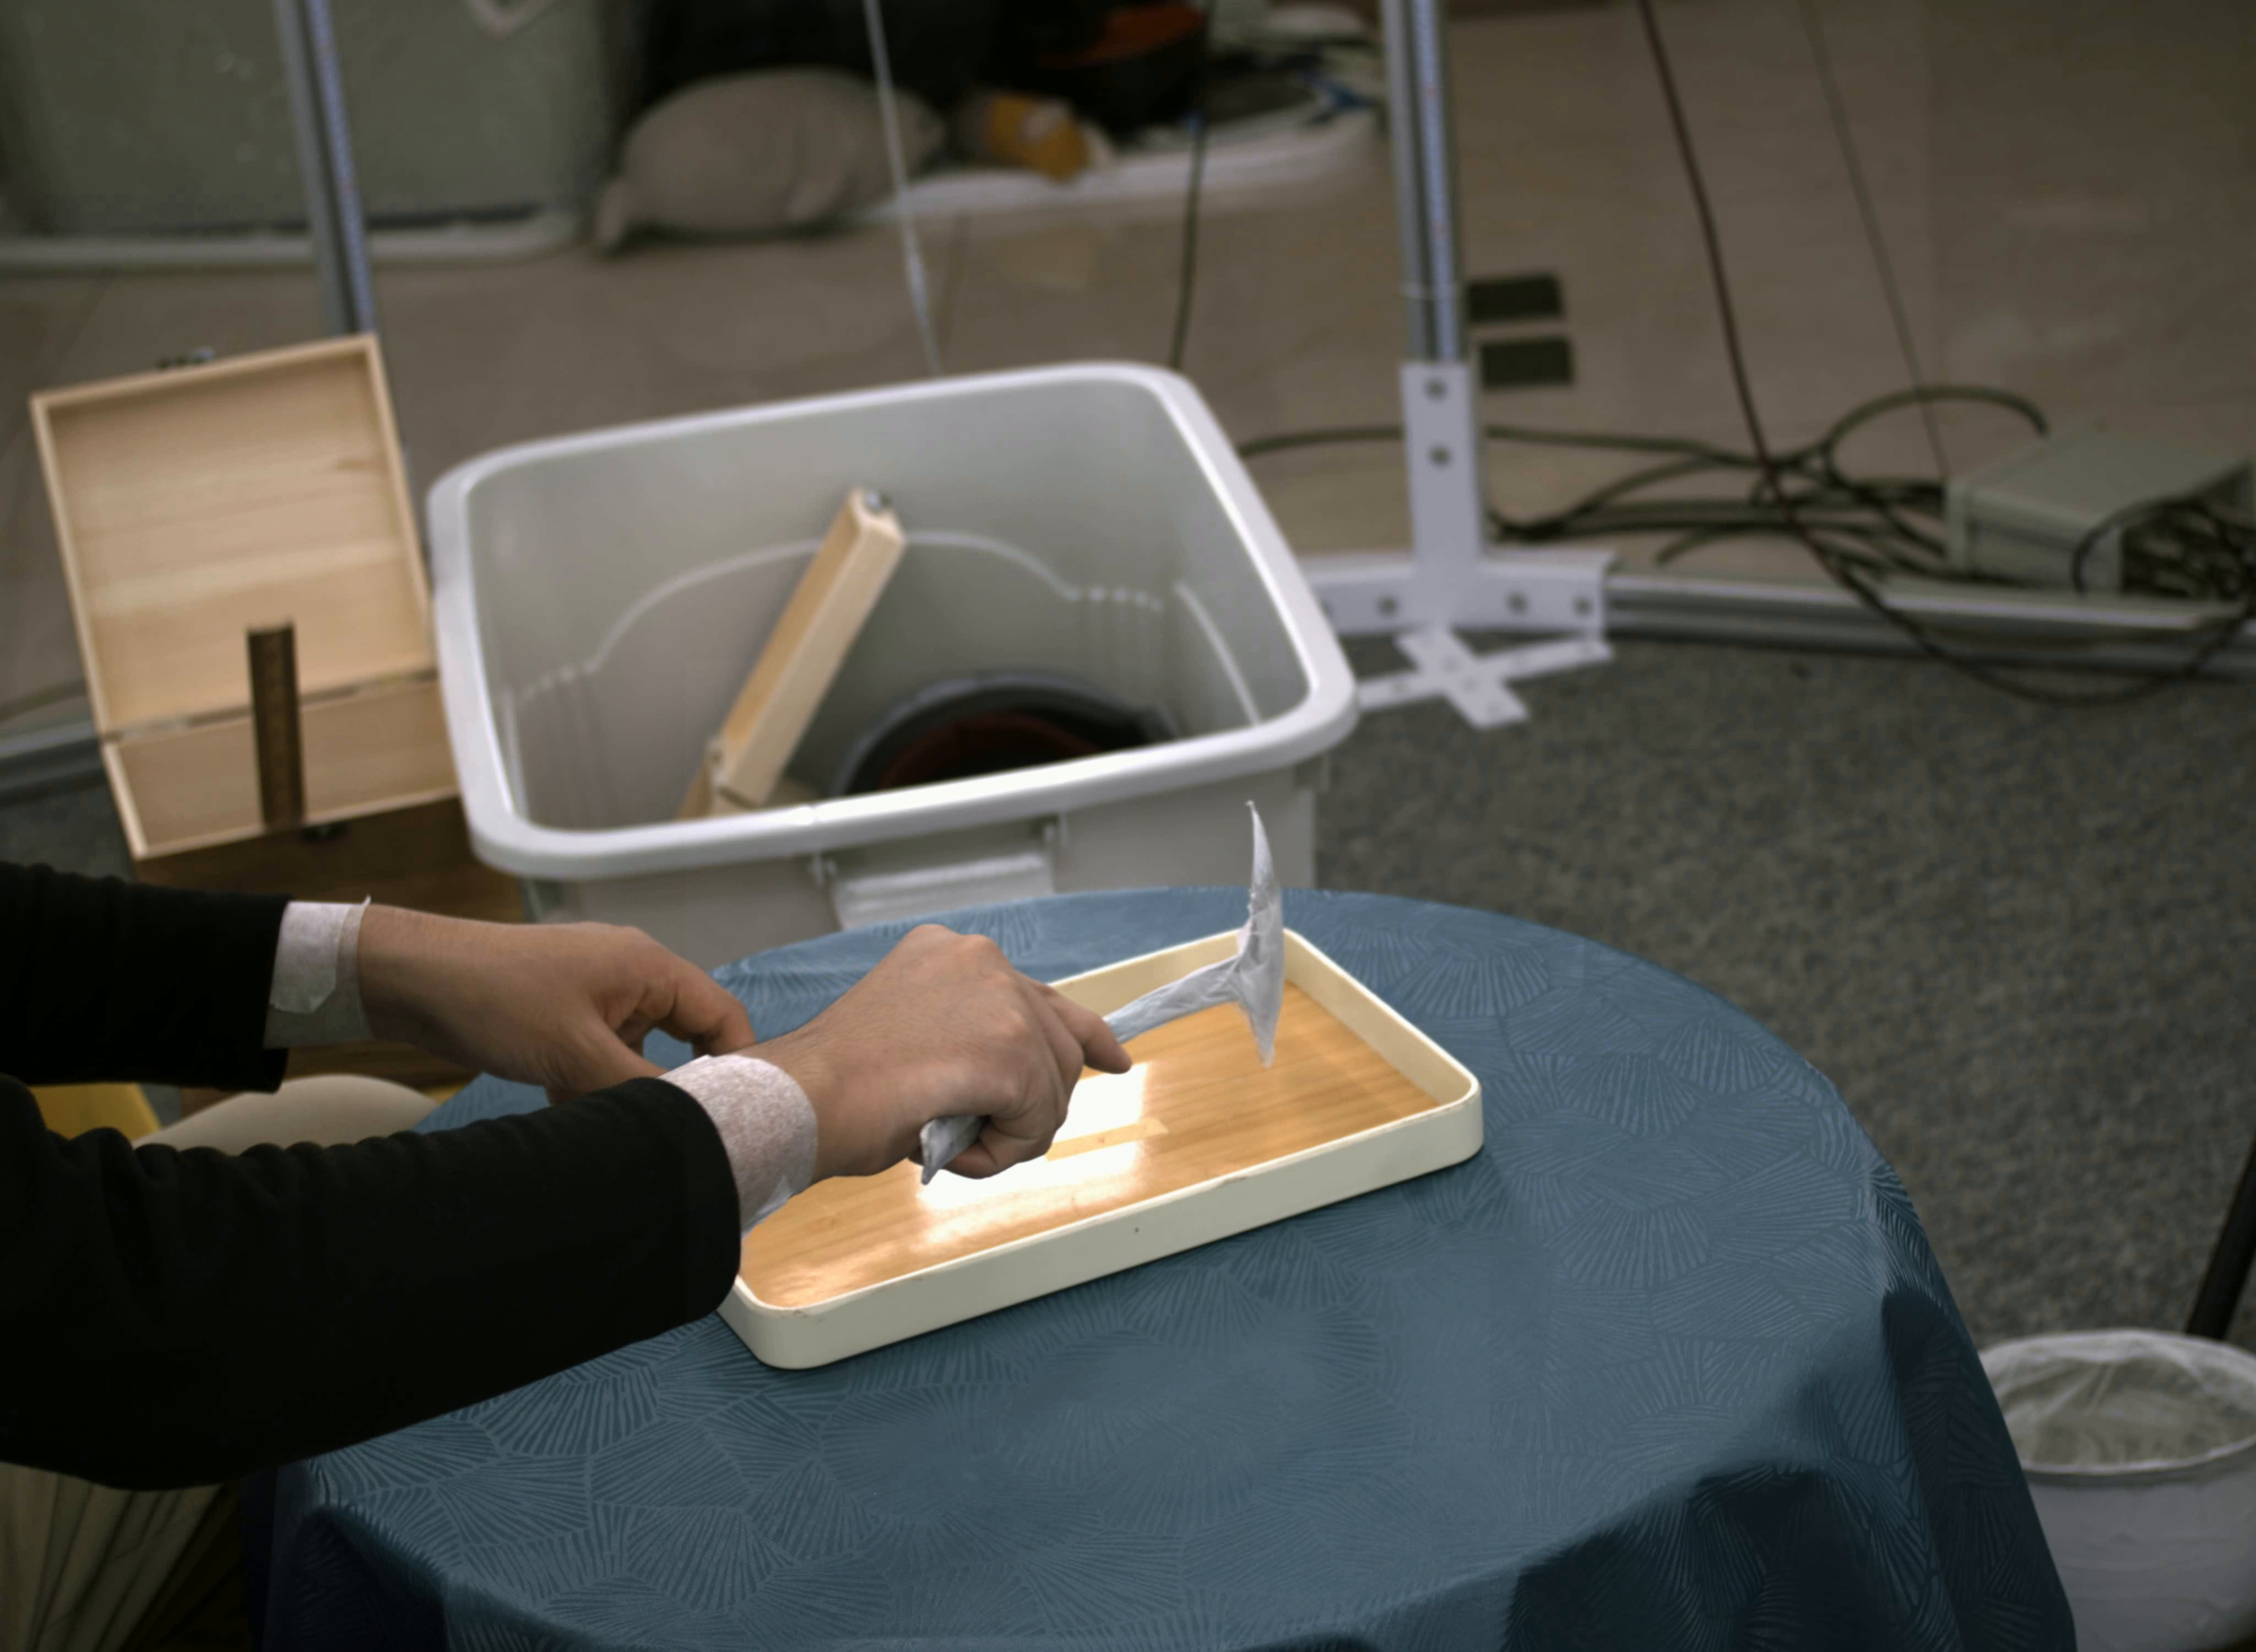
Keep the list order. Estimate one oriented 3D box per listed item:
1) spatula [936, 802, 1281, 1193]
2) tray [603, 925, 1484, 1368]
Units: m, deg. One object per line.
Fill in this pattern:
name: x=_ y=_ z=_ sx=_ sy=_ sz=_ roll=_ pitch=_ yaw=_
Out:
spatula: x=-0.006 y=0.072 z=2.041 sx=0.044 sy=0.100 sz=0.362 roll=5 pitch=14 yaw=24
tray: x=-0.033 y=0.119 z=2.168 sx=0.299 sy=0.028 sz=0.189 roll=-16 pitch=26 yaw=-19
